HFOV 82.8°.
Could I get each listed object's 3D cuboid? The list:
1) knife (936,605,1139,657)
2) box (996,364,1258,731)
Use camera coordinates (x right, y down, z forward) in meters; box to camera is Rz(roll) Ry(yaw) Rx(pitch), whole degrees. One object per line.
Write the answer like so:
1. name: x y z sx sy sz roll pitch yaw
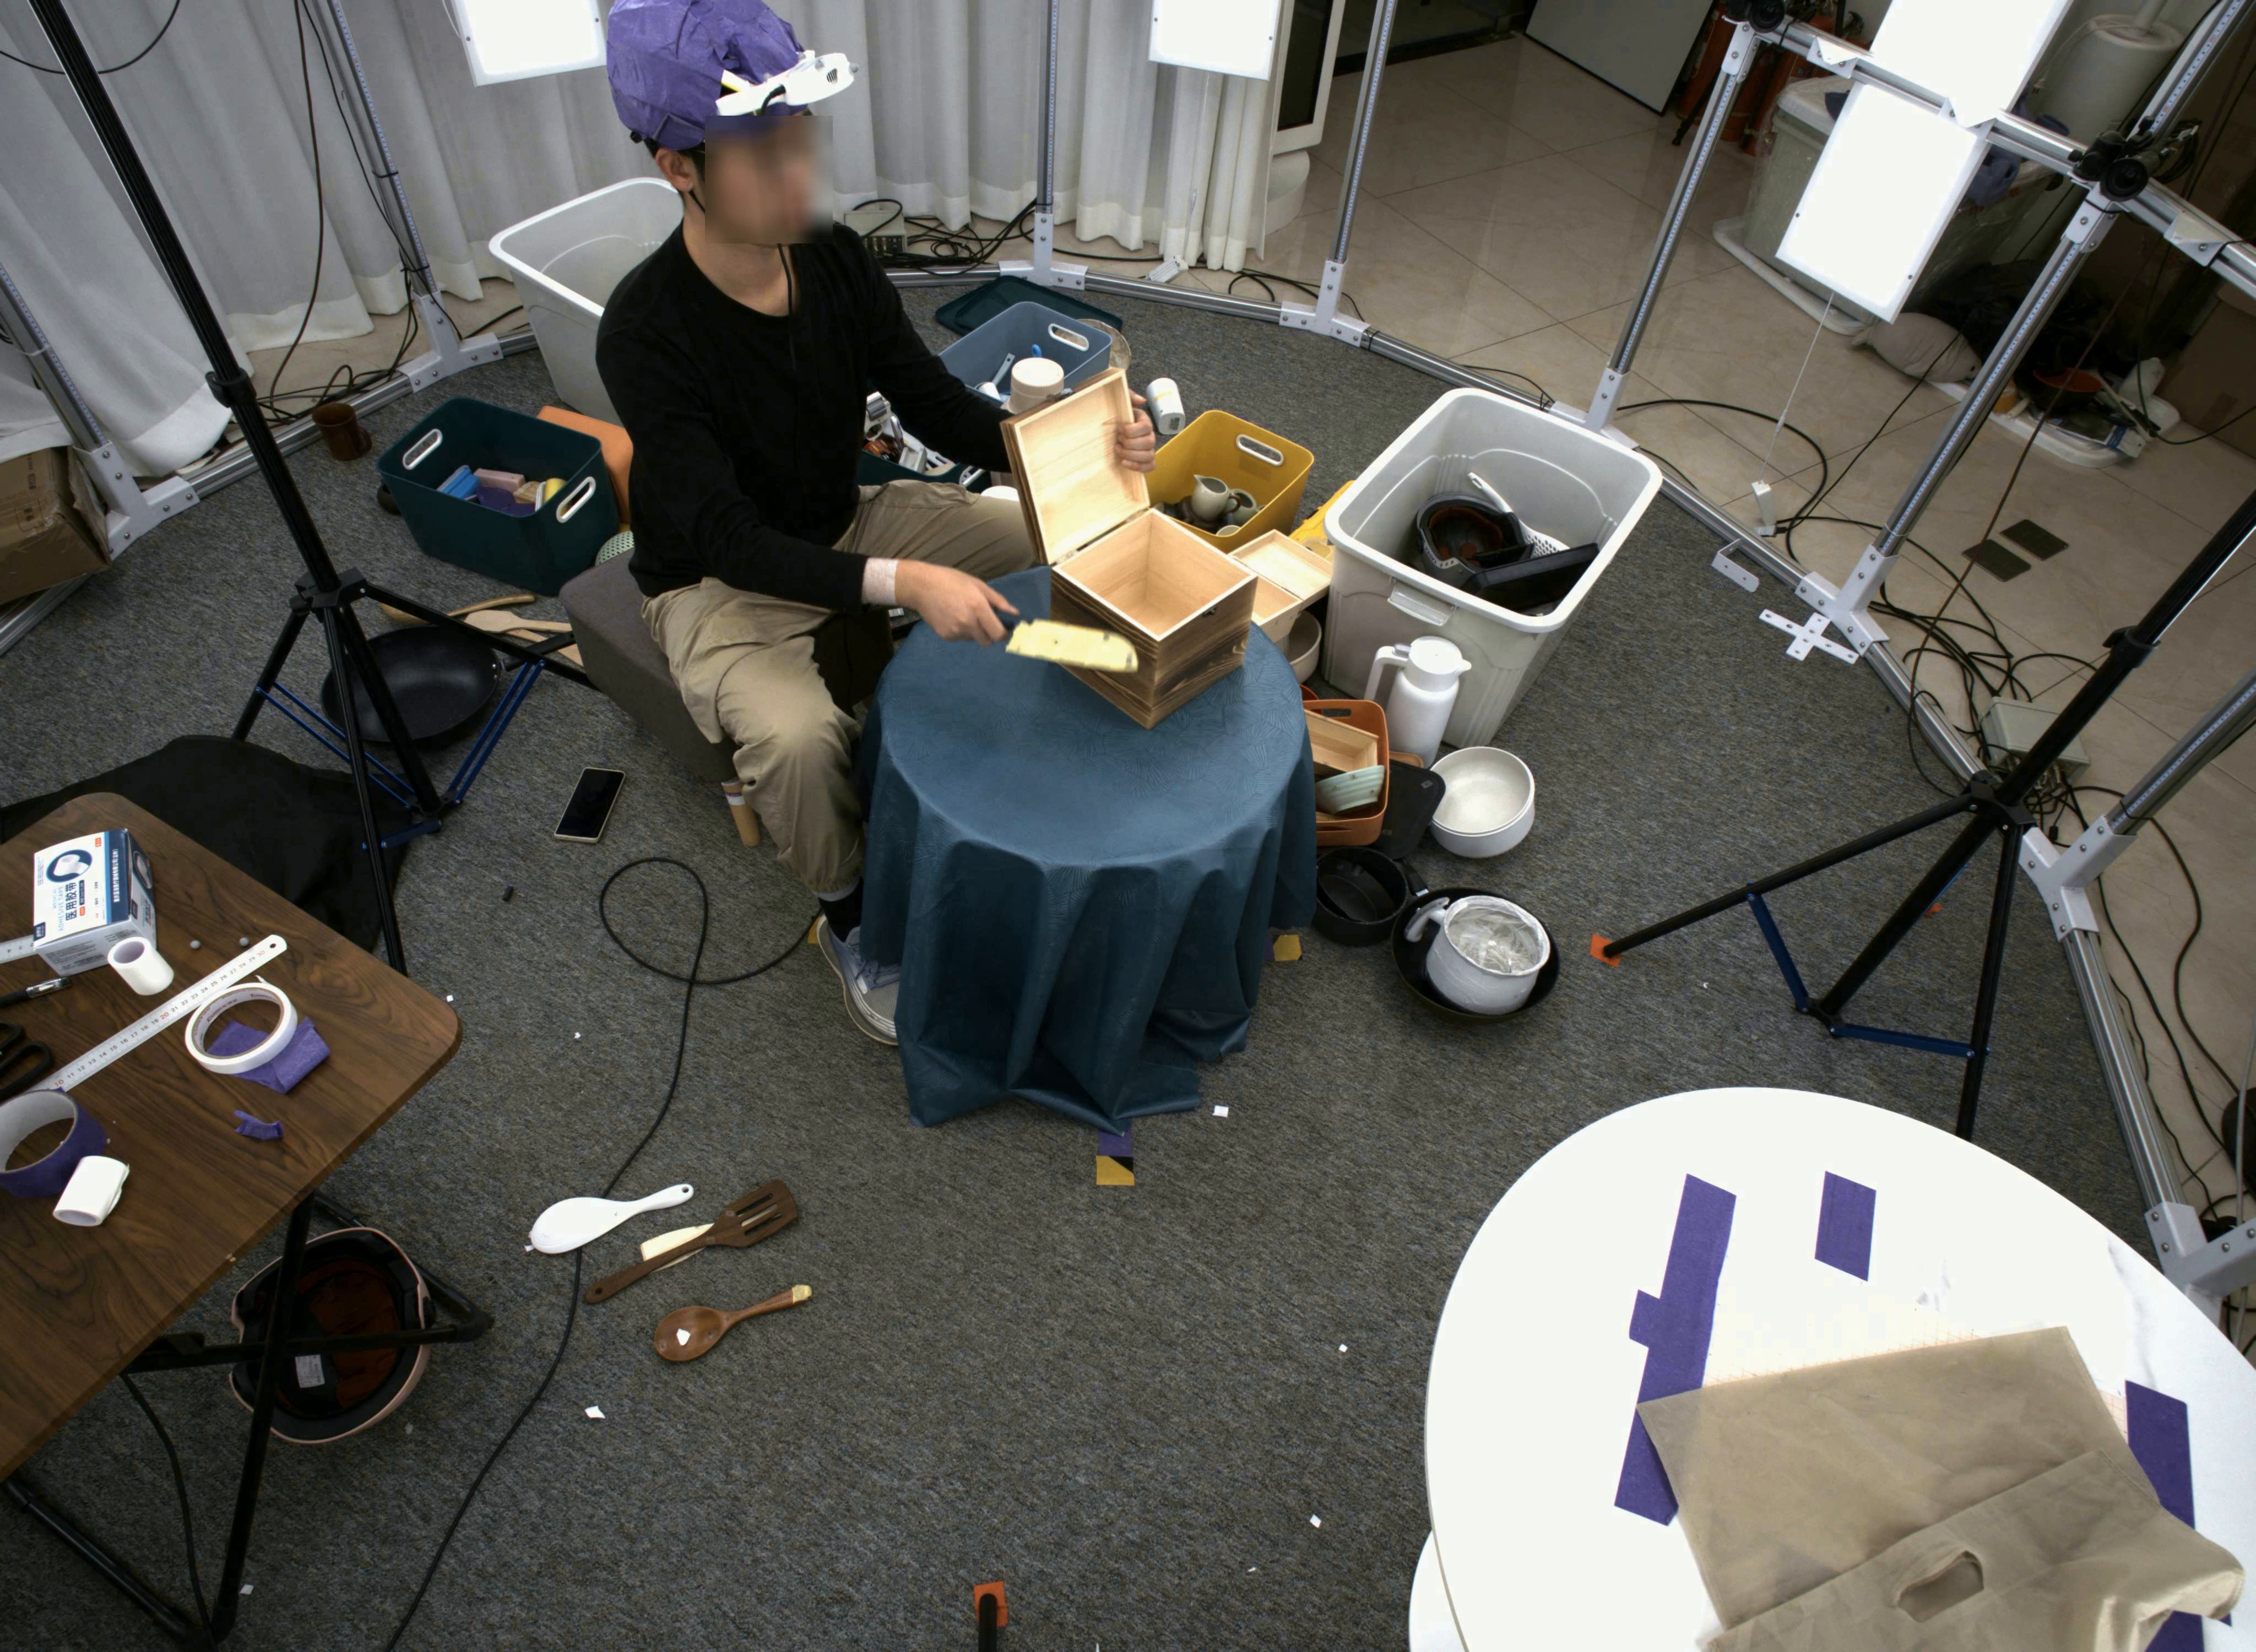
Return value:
1. knife: -0.121 -0.251 1.659 0.291 0.026 0.082 11 41 18
2. box: -0.001 -0.383 1.770 0.327 0.366 0.211 38 57 26
